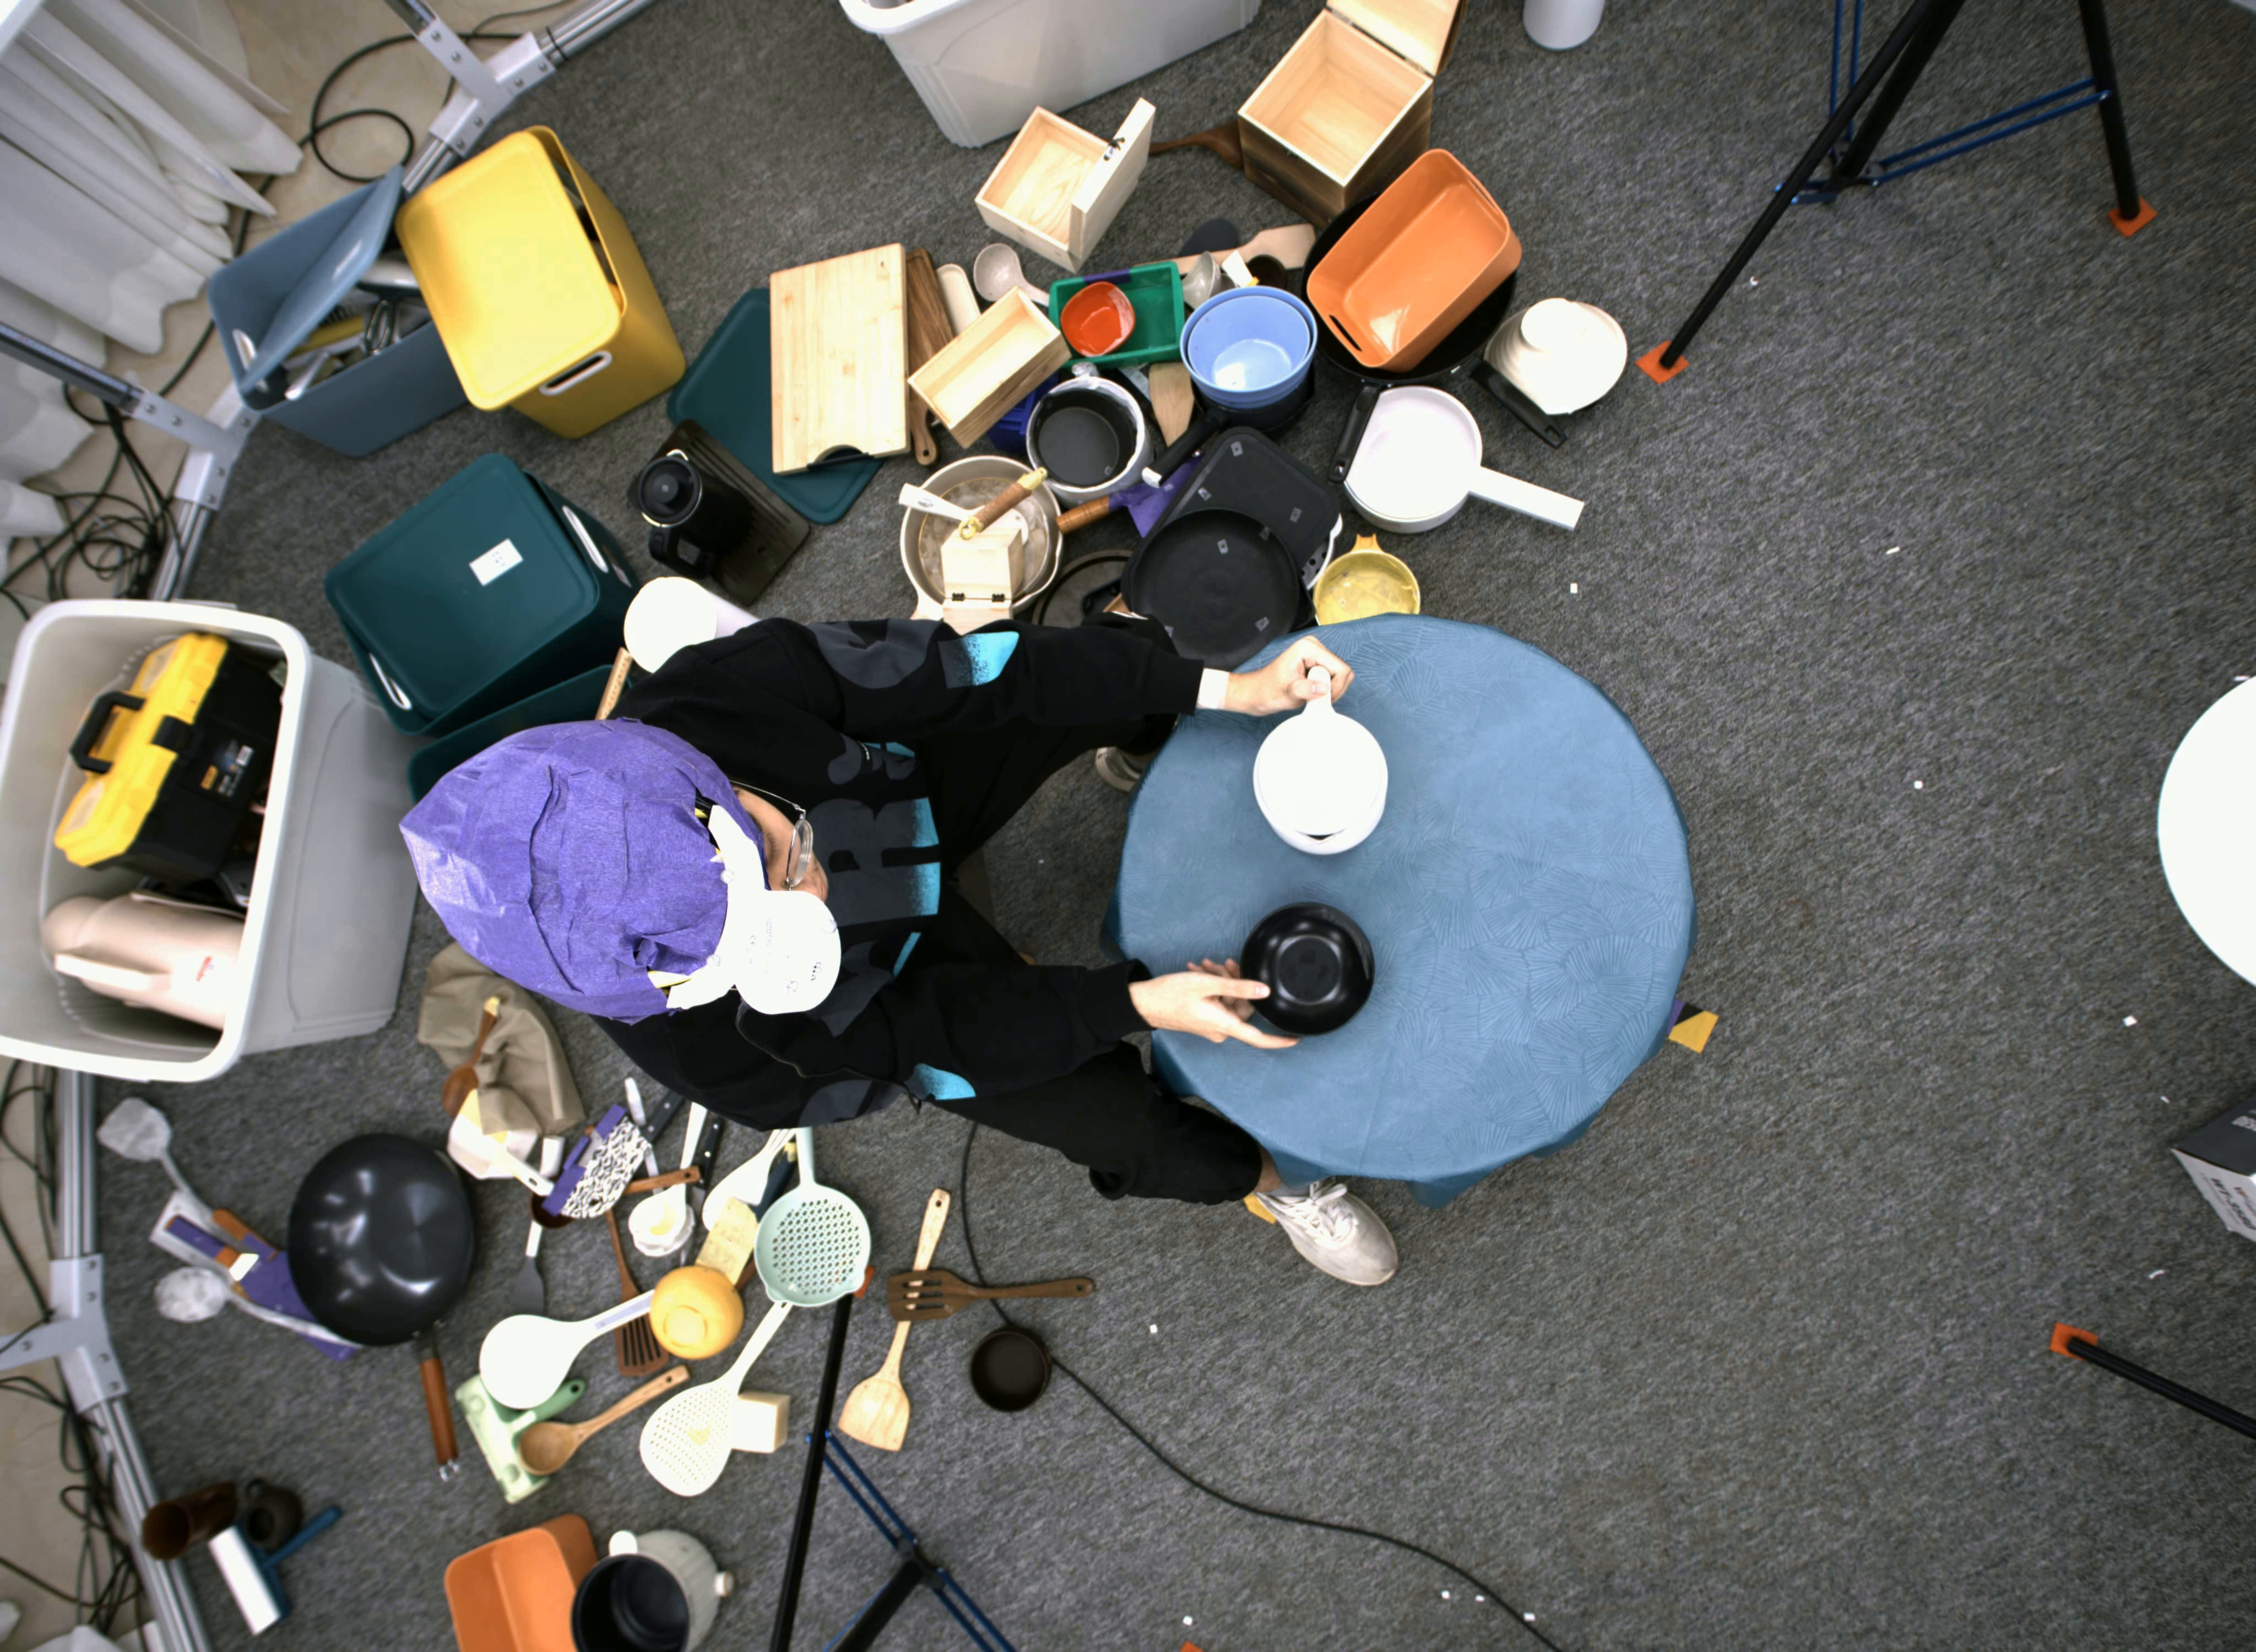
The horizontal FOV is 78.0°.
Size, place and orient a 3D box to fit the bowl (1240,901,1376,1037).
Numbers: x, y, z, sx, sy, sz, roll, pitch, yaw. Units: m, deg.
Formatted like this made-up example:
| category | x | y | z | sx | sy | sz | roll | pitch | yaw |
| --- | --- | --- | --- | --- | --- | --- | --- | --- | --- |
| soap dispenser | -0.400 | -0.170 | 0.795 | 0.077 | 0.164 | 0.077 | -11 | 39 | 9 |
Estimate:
| category | x | y | z | sx | sy | sz | roll | pitch | yaw |
| --- | --- | --- | --- | --- | --- | --- | --- | --- | --- |
| bowl | 0.188 | 0.148 | 1.442 | 0.140 | 0.050 | 0.139 | -1 | 87 | 13 |

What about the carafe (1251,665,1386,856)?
| category | x | y | z | sx | sy | sz | roll | pitch | yaw |
| --- | --- | --- | --- | --- | --- | --- | --- | --- | --- |
| carafe | 0.192 | -0.067 | 1.390 | 0.133 | 0.183 | 0.190 | -3 | 83 | 8 |
